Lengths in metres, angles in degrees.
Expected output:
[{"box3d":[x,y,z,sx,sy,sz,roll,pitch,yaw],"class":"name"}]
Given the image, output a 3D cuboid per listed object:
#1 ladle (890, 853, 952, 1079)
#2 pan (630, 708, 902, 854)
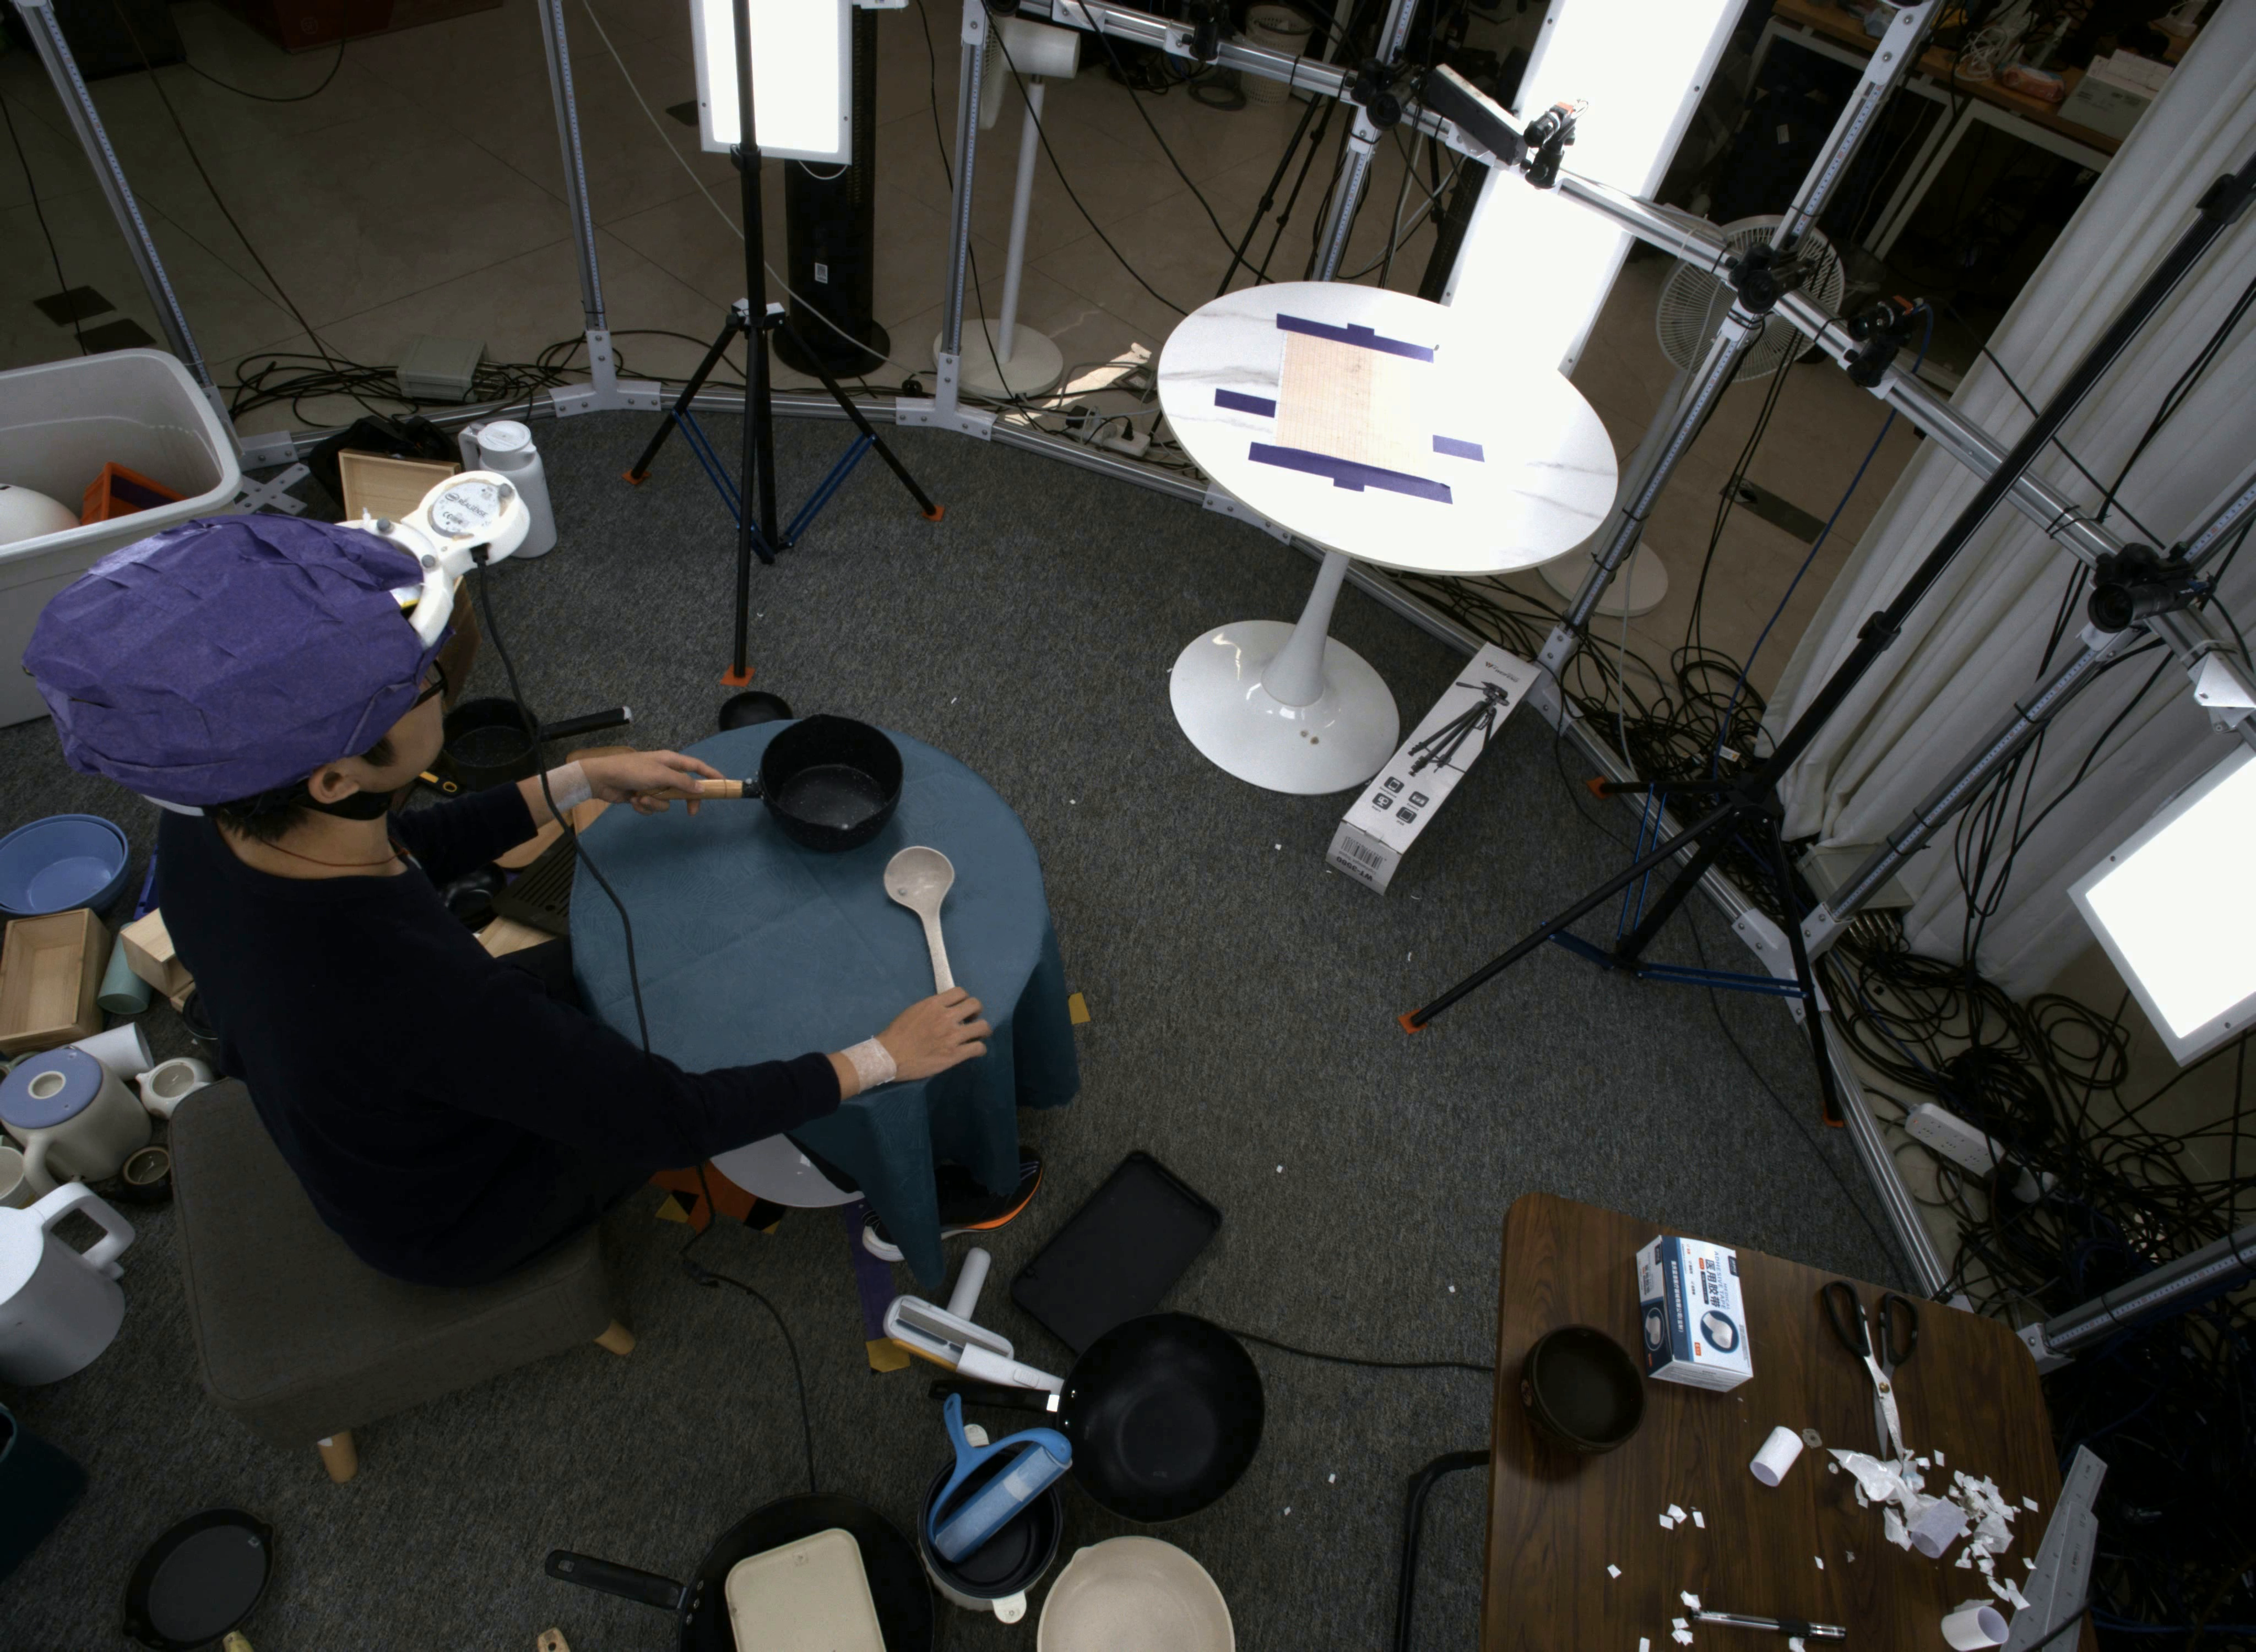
[{"box3d":[-0.271,0.172,1.632,0.087,0.071,0.276,1,80,24],"class":"ladle"},{"box3d":[-0.463,-0.044,1.667,0.345,0.110,0.202,-10,57,-23],"class":"pan"}]
